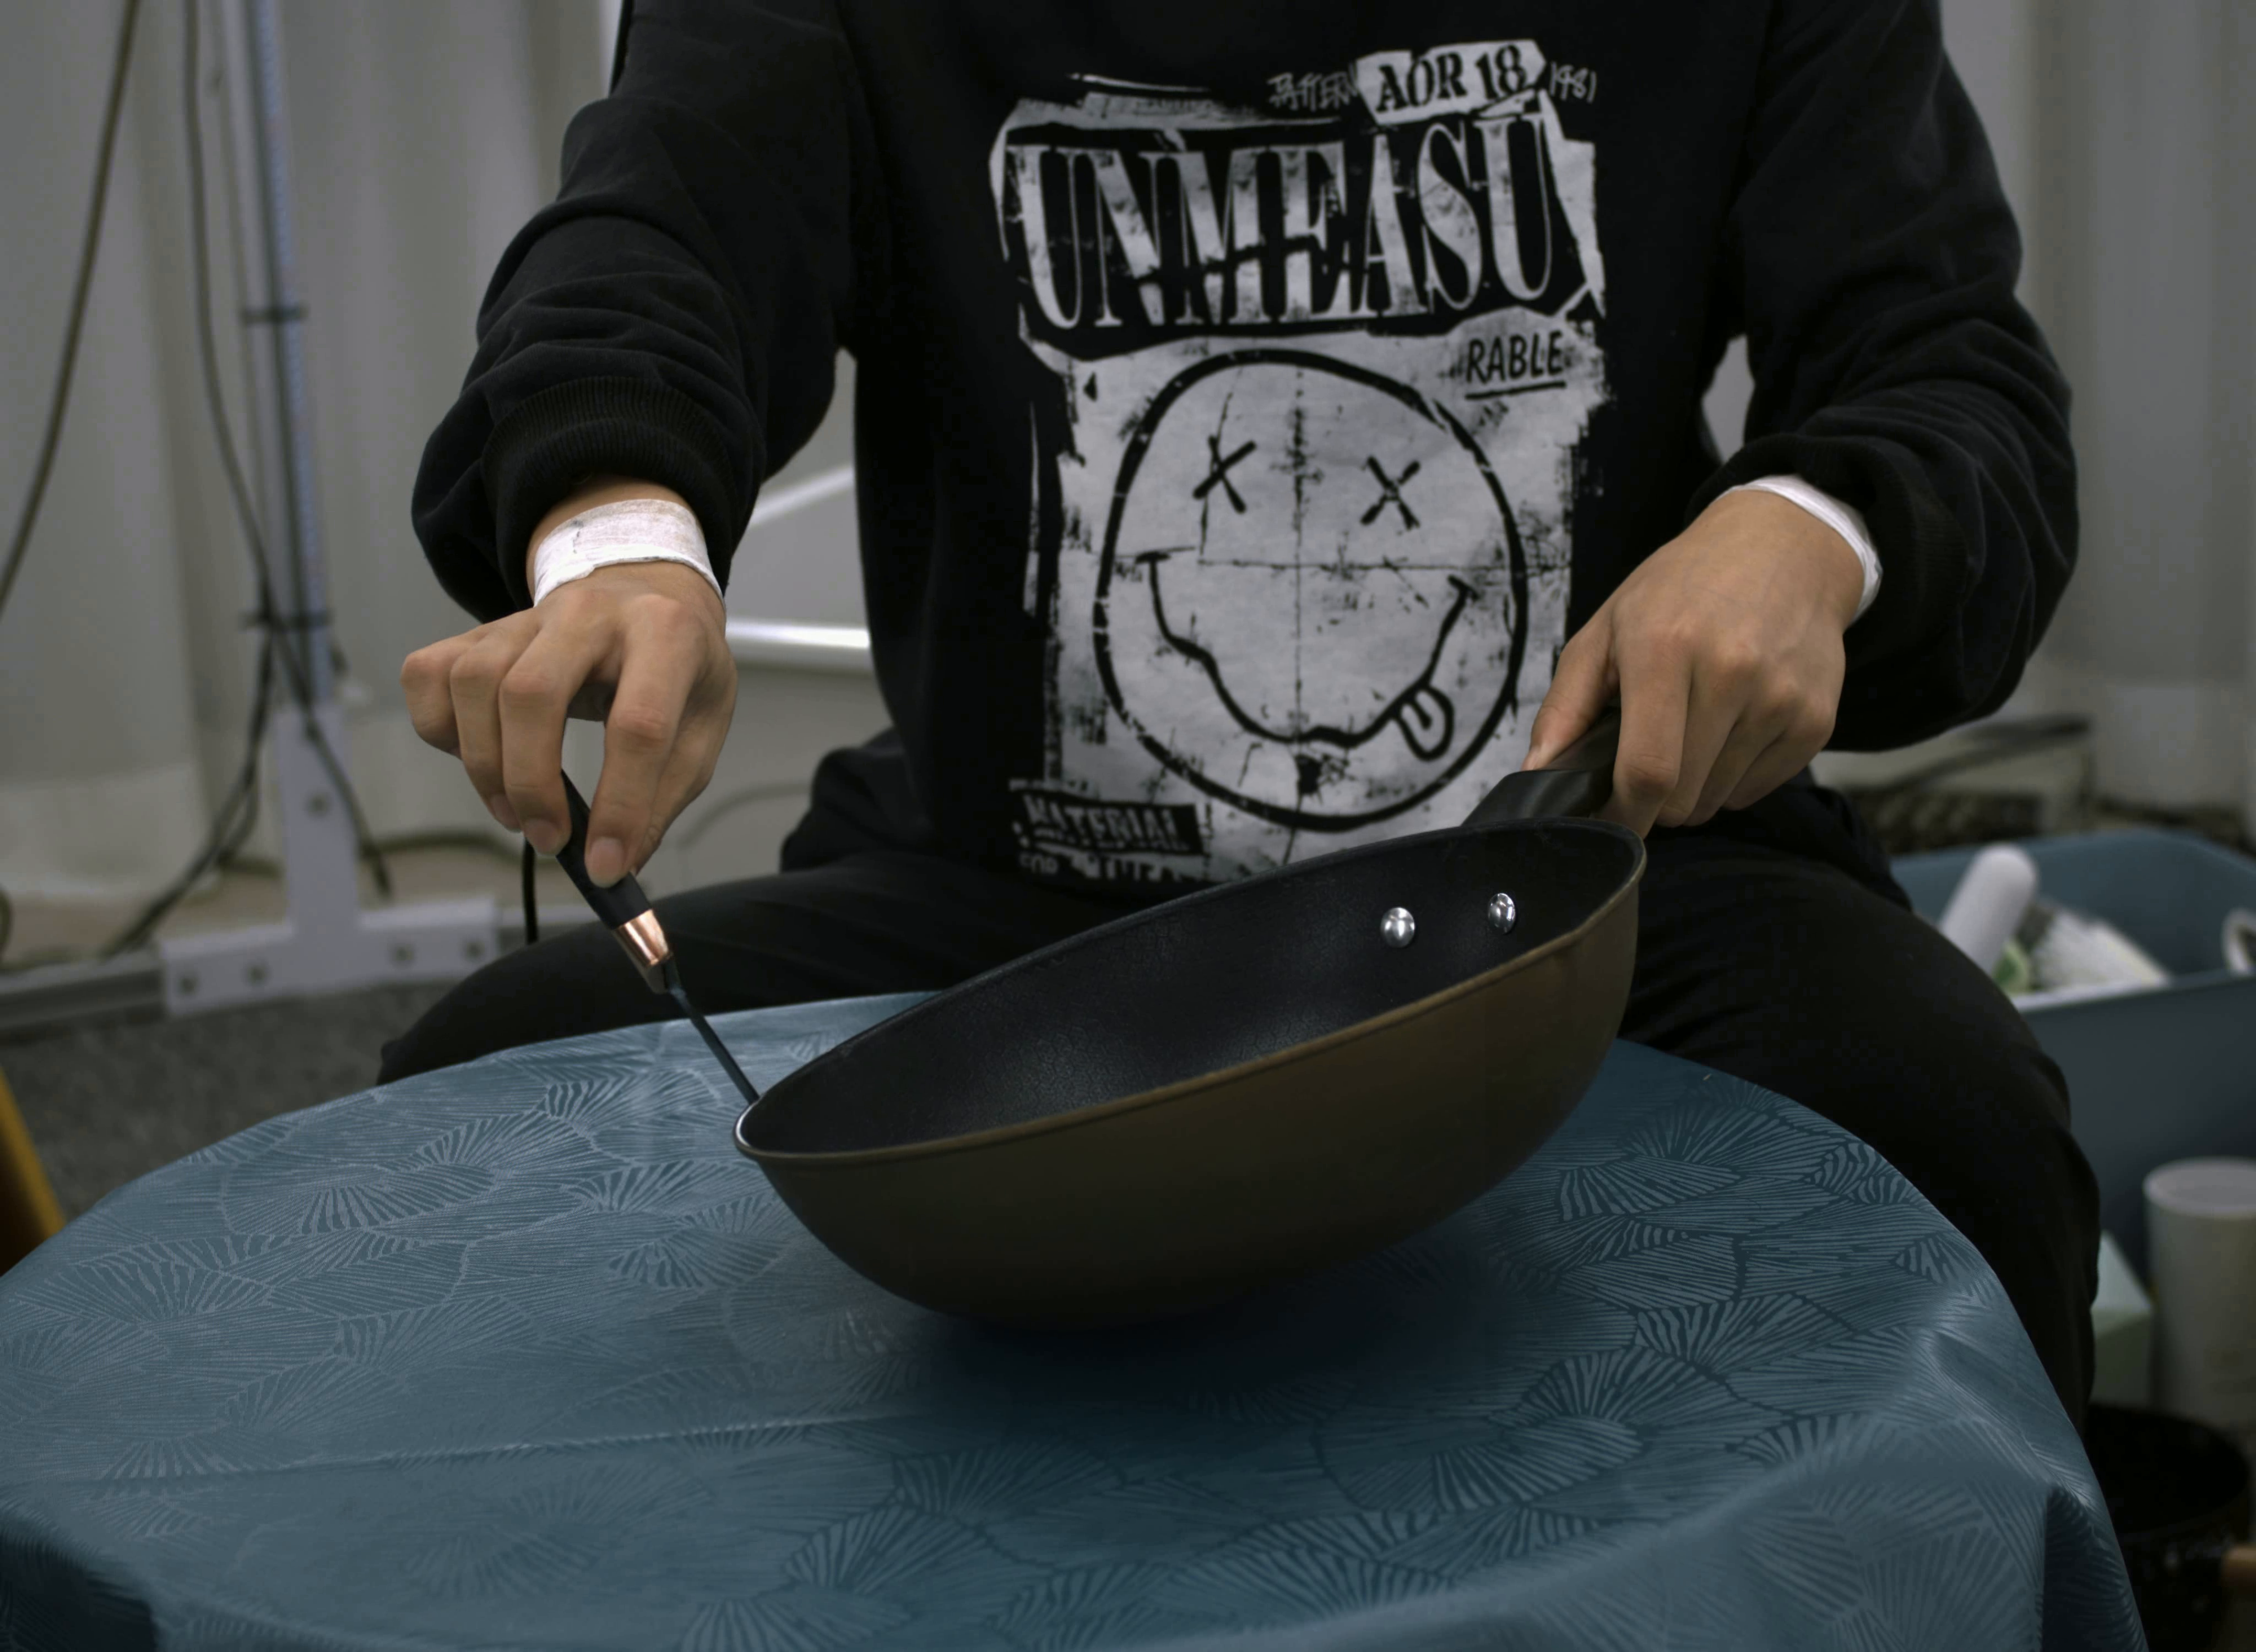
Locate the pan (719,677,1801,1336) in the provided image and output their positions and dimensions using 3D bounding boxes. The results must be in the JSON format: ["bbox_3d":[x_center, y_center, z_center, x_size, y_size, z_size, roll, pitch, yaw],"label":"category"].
[{"bbox_3d":[0.080,0.056,1.669,0.288,0.087,0.464,-10,11,41],"label":"pan"}]

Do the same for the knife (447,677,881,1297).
[{"bbox_3d":[-0.135,0.046,1.602,0.017,0.227,0.026,-28,-20,-25],"label":"knife"}]
